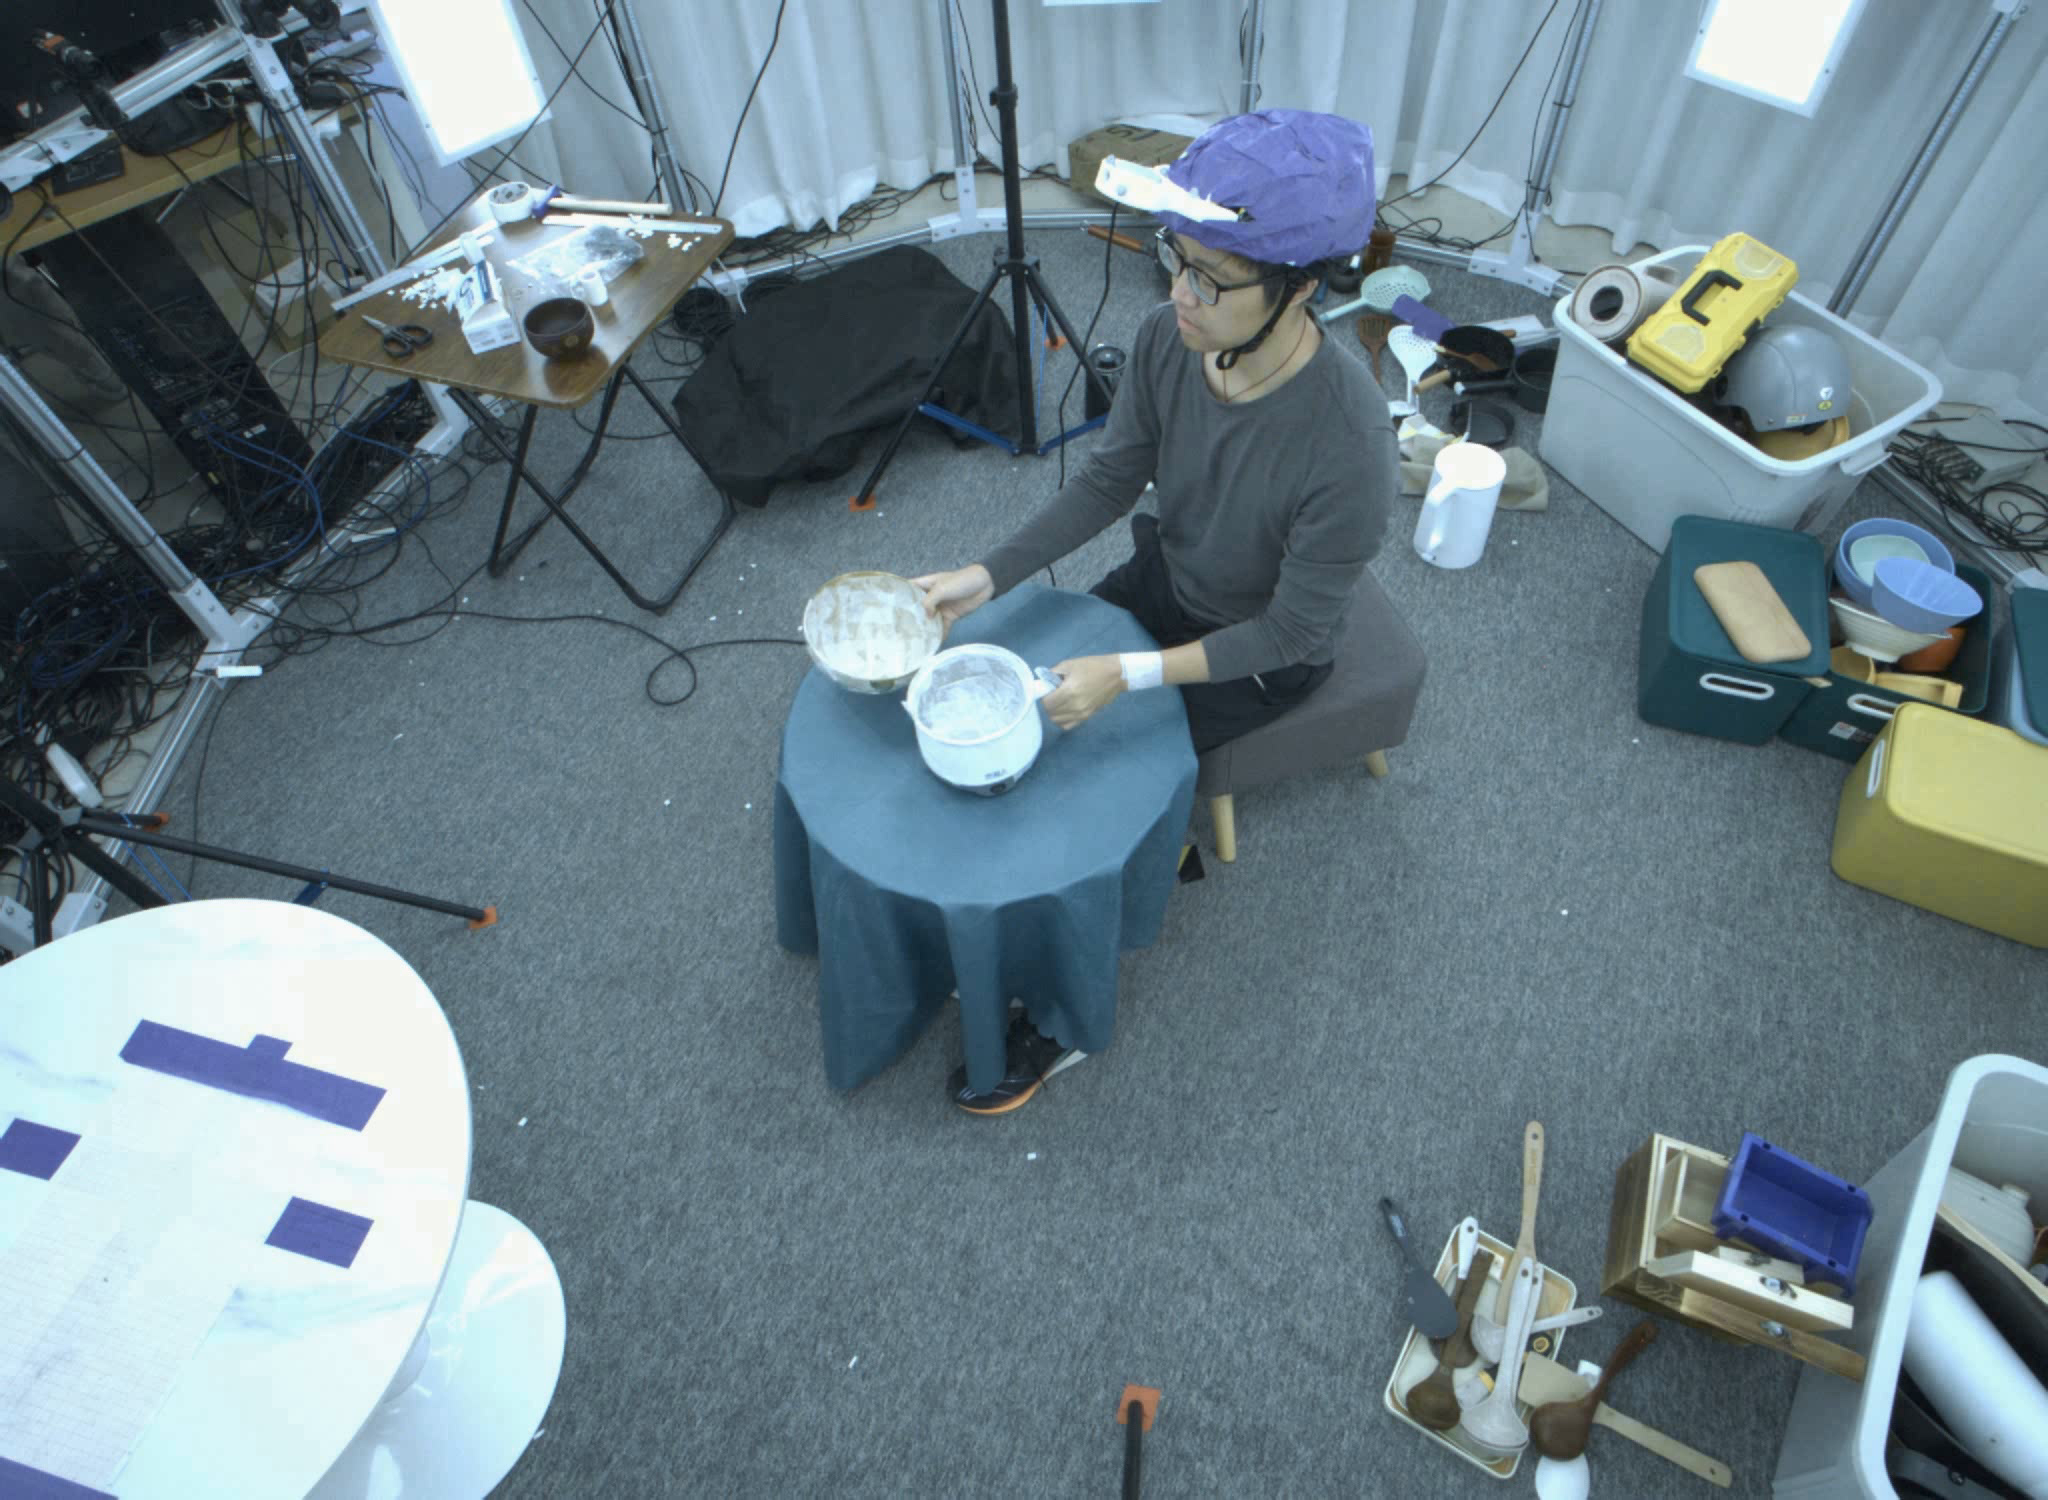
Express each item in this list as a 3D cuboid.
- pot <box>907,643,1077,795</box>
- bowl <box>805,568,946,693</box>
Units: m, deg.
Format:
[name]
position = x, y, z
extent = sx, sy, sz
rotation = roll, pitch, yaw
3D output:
[pot]
position = -0.041, -0.051, 1.743
extent = 0.235, 0.138, 0.175
rotation = -18, 56, -7
[bowl]
position = -0.222, -0.161, 1.810
extent = 0.217, 0.094, 0.212
rotation = 8, 57, -12
